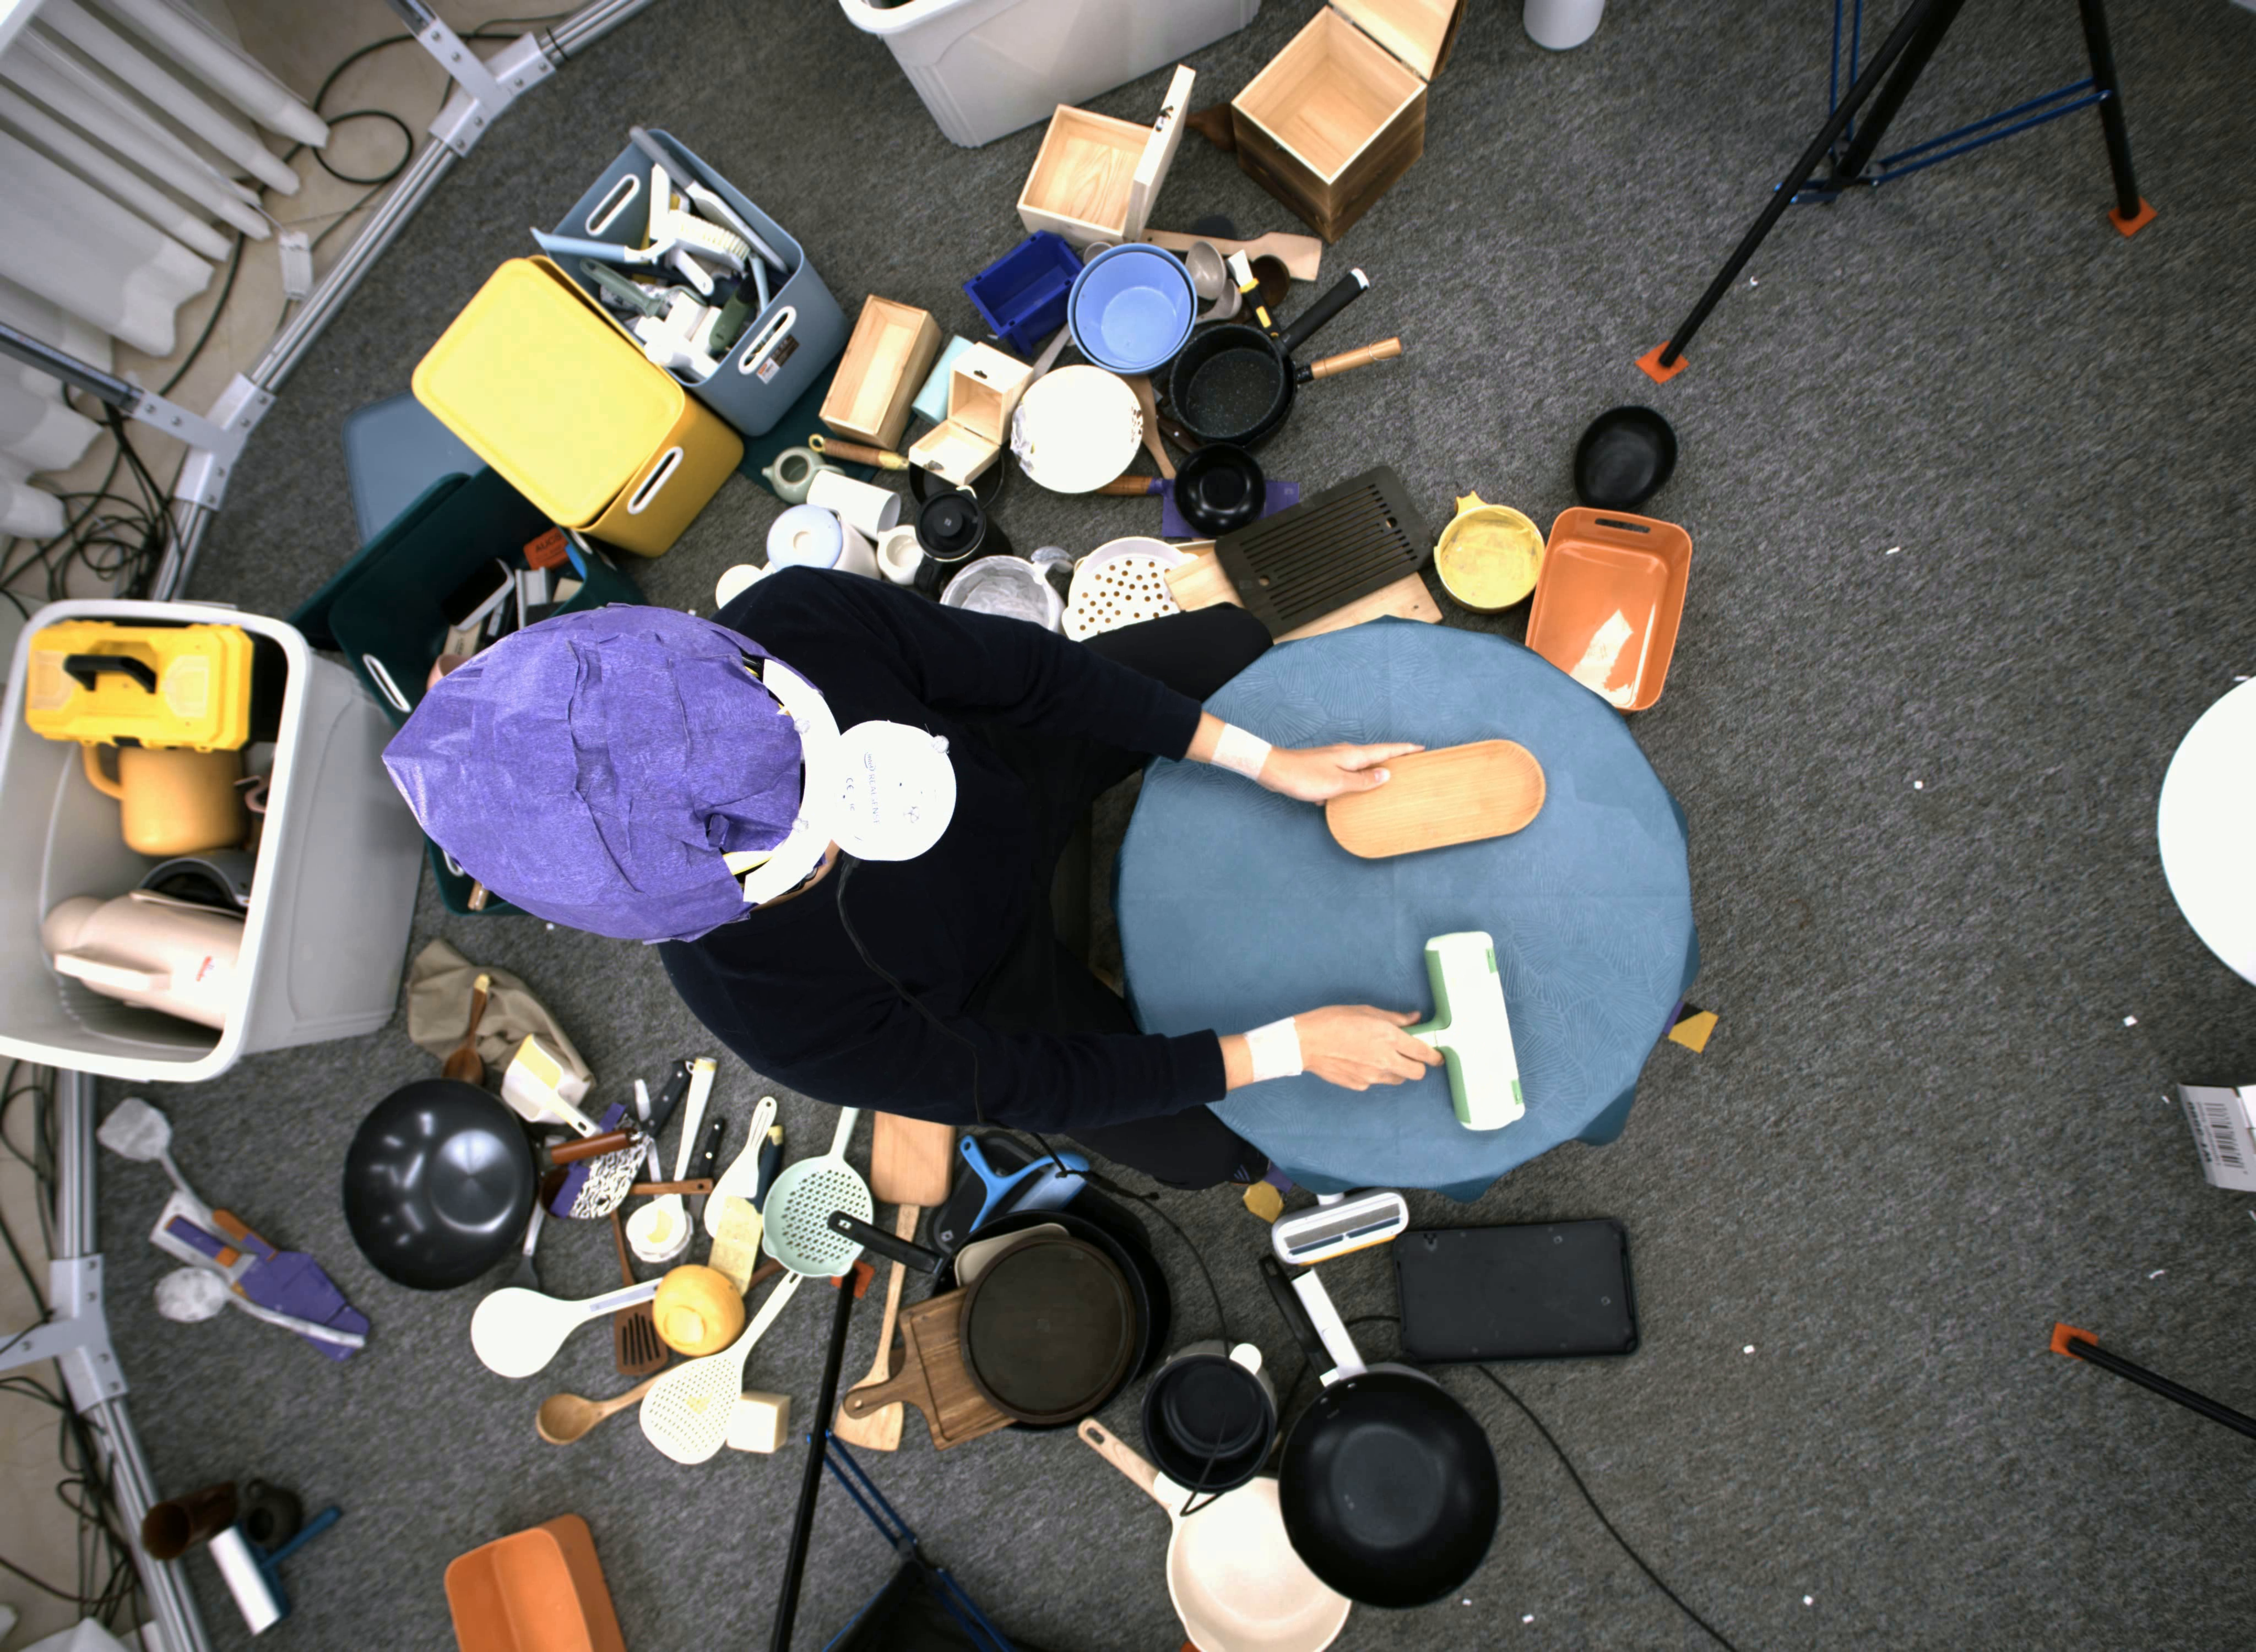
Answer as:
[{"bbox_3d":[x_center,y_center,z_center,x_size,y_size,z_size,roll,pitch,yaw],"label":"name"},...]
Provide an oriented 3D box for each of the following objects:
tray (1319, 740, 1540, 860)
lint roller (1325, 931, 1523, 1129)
[{"bbox_3d":[0.313,-0.028,1.432,0.232,0.020,0.101,-11,90,3],"label":"tray"},{"bbox_3d":[0.292,0.216,1.381,0.183,0.082,0.199,-13,95,-5],"label":"lint roller"}]
